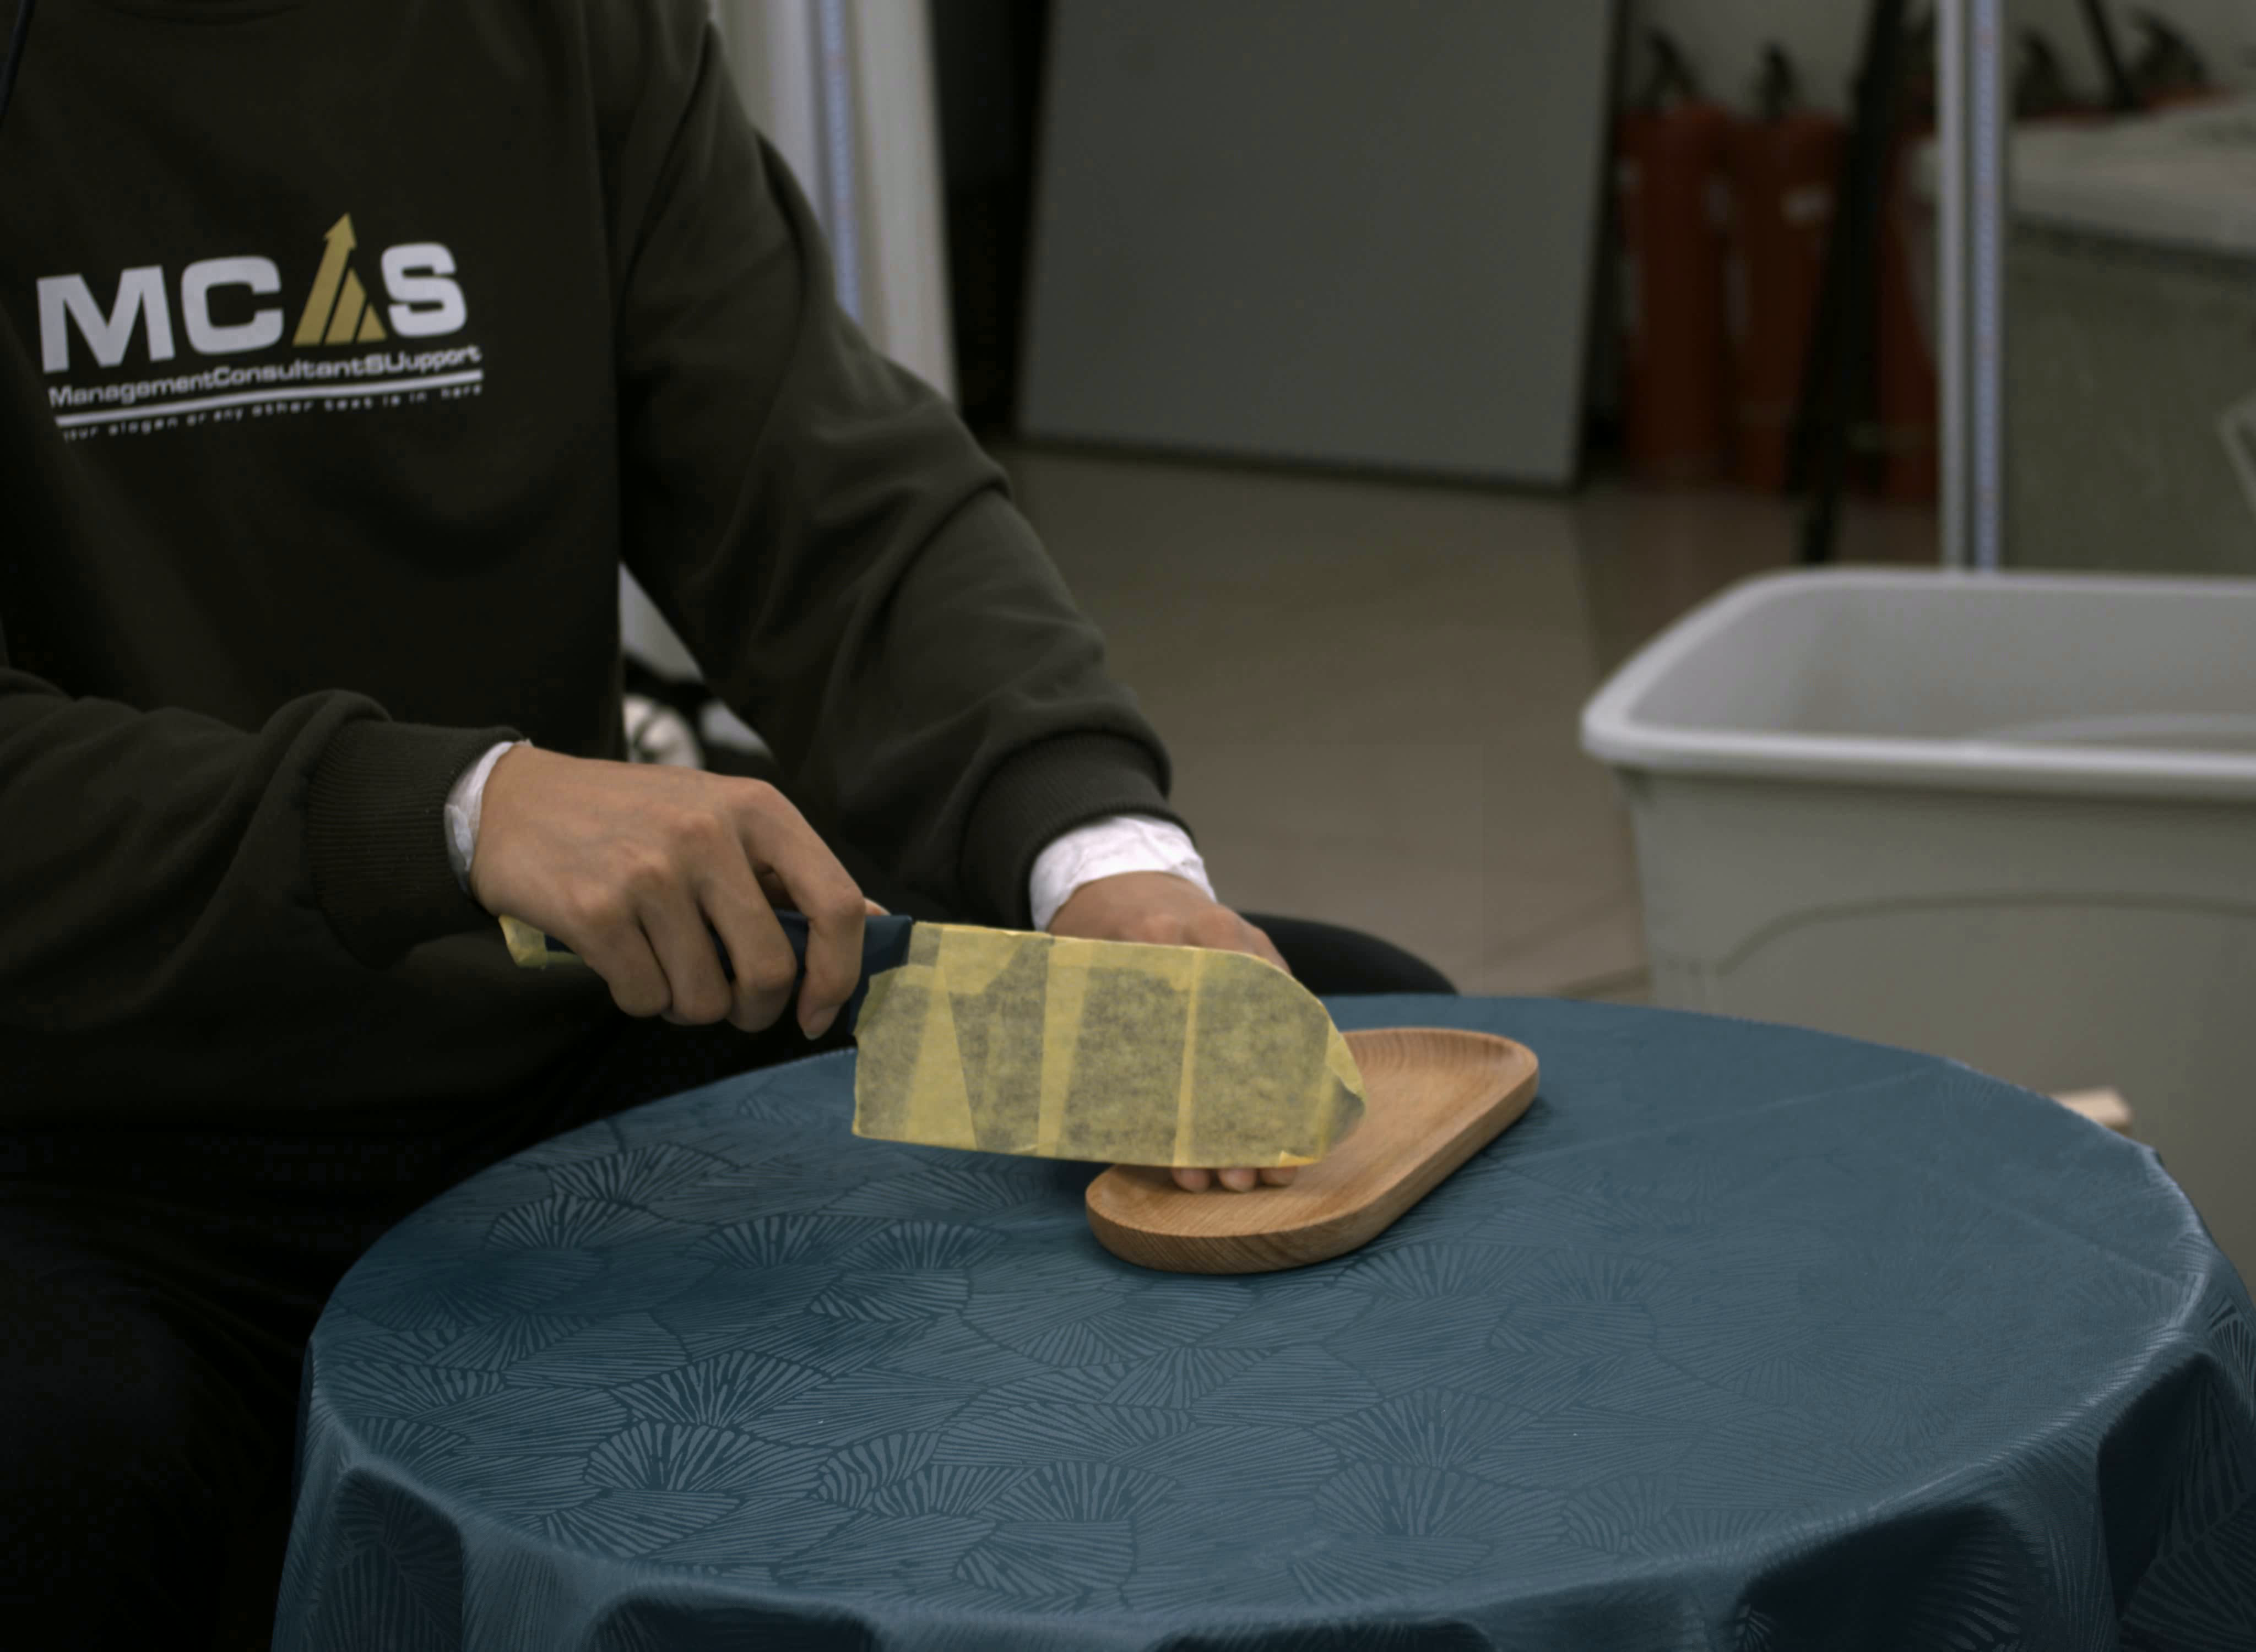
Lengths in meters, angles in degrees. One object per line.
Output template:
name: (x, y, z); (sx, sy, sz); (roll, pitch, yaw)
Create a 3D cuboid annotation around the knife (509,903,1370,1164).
knife: (-0.062, 0.066, 1.751); (0.287, 0.082, 0.027); (8, -2, 7)

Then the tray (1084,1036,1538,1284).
tray: (0.063, 0.108, 1.778); (0.102, 0.020, 0.228); (0, 16, 26)
